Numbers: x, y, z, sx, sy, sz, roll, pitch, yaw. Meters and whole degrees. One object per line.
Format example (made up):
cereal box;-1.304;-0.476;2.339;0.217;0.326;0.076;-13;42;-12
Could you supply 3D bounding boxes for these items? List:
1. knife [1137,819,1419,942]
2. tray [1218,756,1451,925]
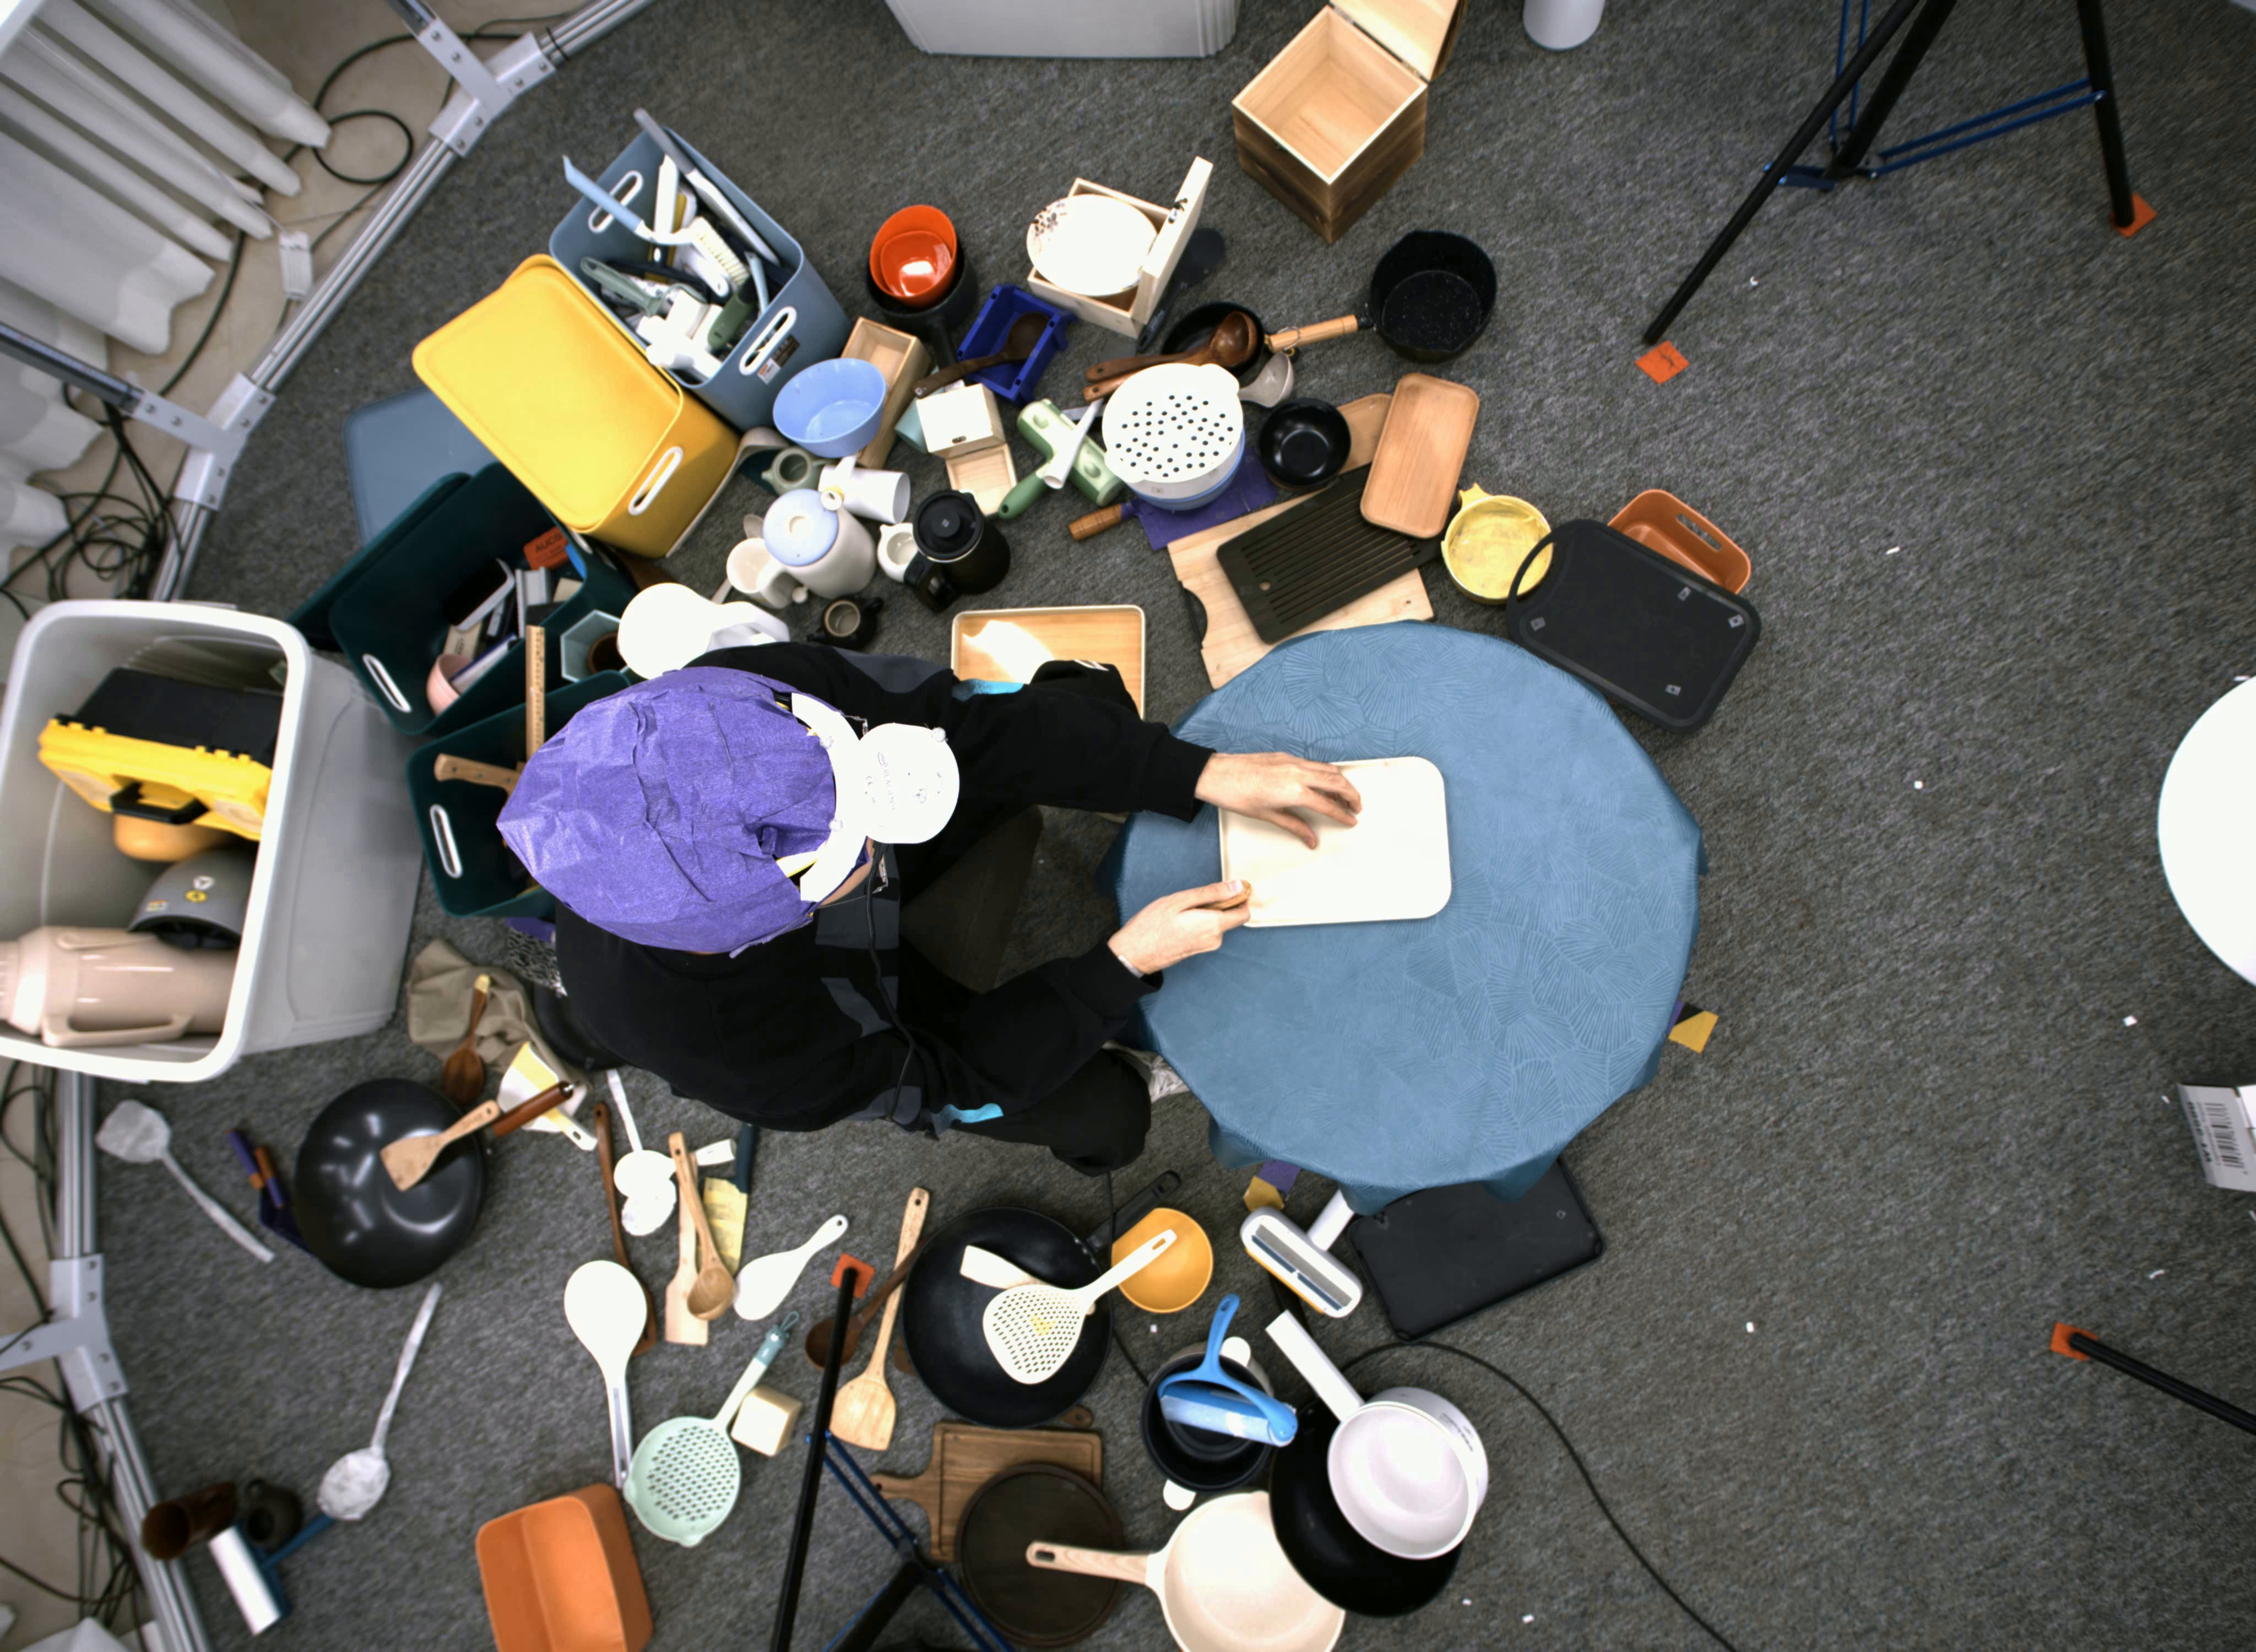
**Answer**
knife;0.156;0.057;1.422;0.307;0.093;0.021;-23;77;7
tray;0.217;0.015;1.463;0.240;0.017;0.170;-3;88;10
